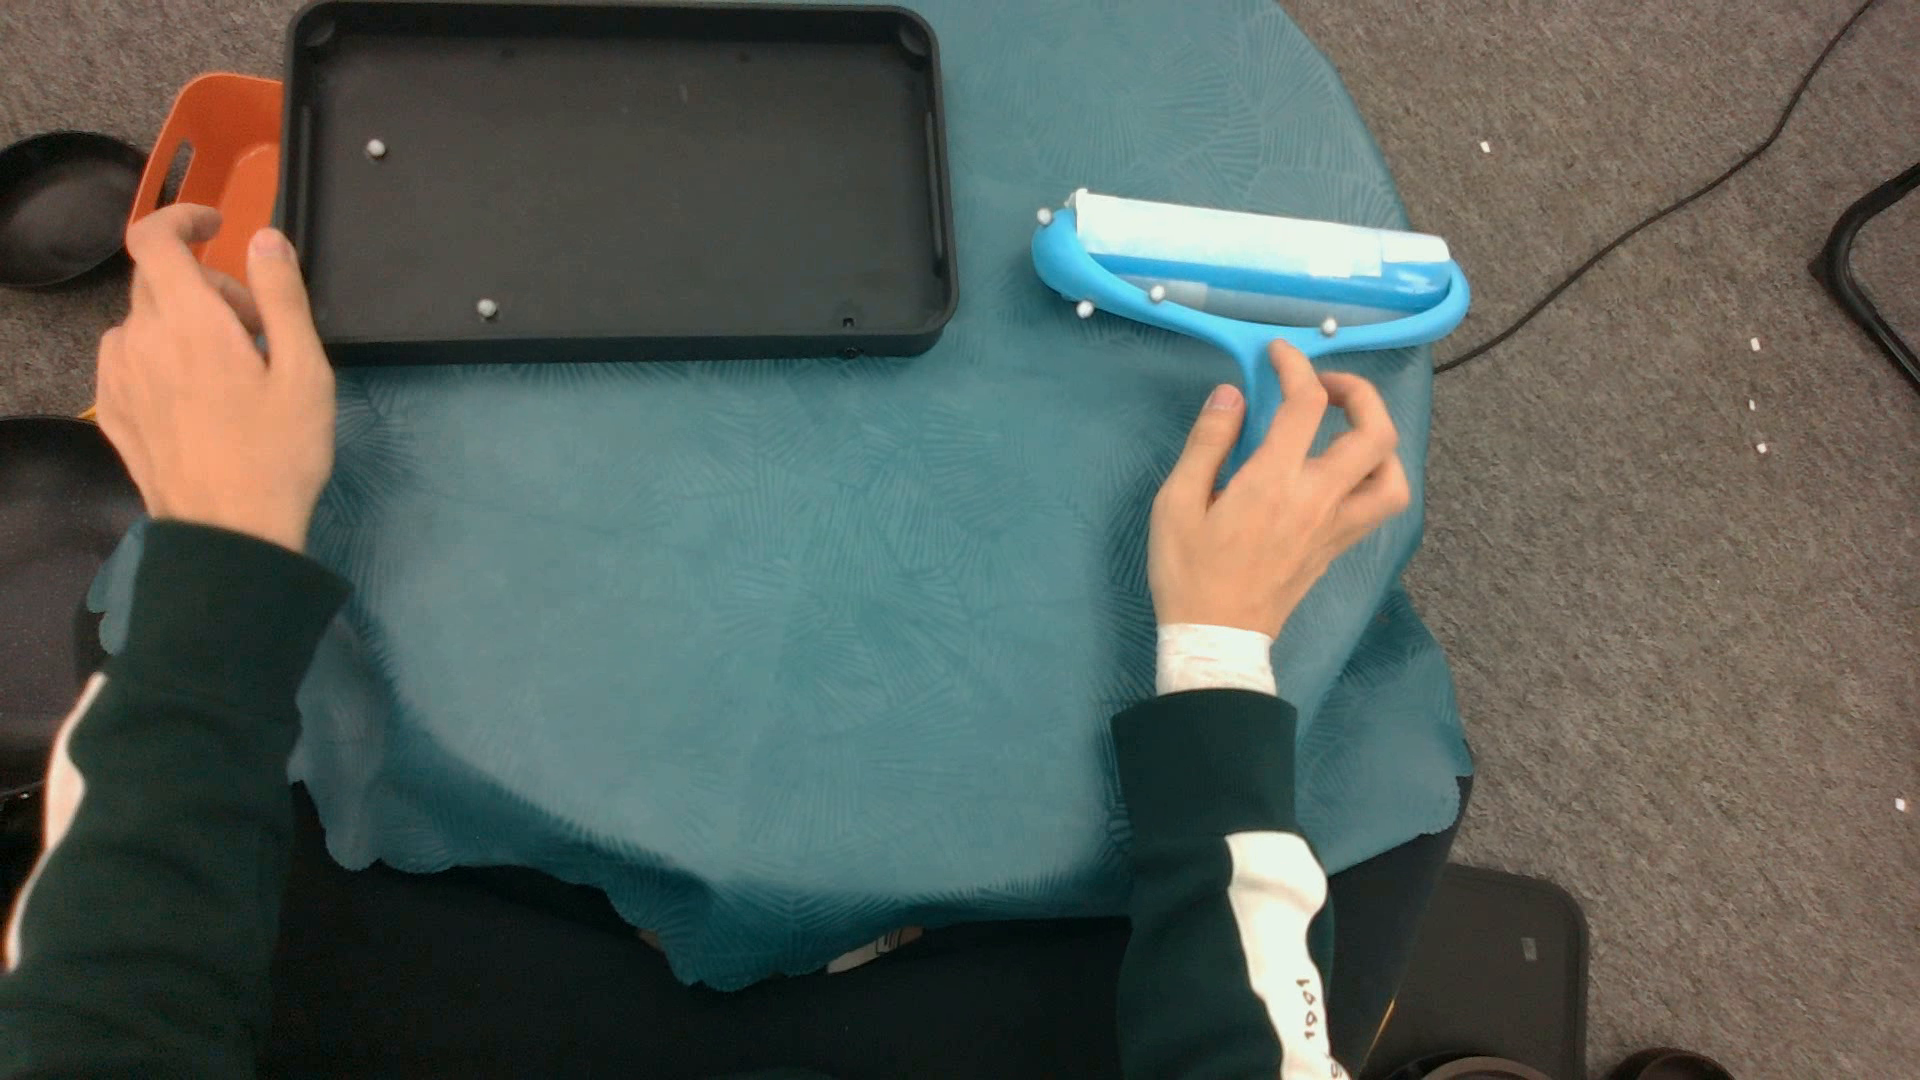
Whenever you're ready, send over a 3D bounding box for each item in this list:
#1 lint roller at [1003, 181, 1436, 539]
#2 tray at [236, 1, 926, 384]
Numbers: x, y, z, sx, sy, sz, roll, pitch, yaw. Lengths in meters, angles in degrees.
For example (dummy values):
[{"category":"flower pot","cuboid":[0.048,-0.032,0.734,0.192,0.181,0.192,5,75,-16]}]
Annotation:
[{"category":"lint roller","cuboid":[0.138,-0.095,0.700,0.229,0.067,0.180,1,73,-10]},{"category":"tray","cuboid":[-0.184,-0.177,0.686,0.318,0.037,0.184,-5,76,-11]}]
